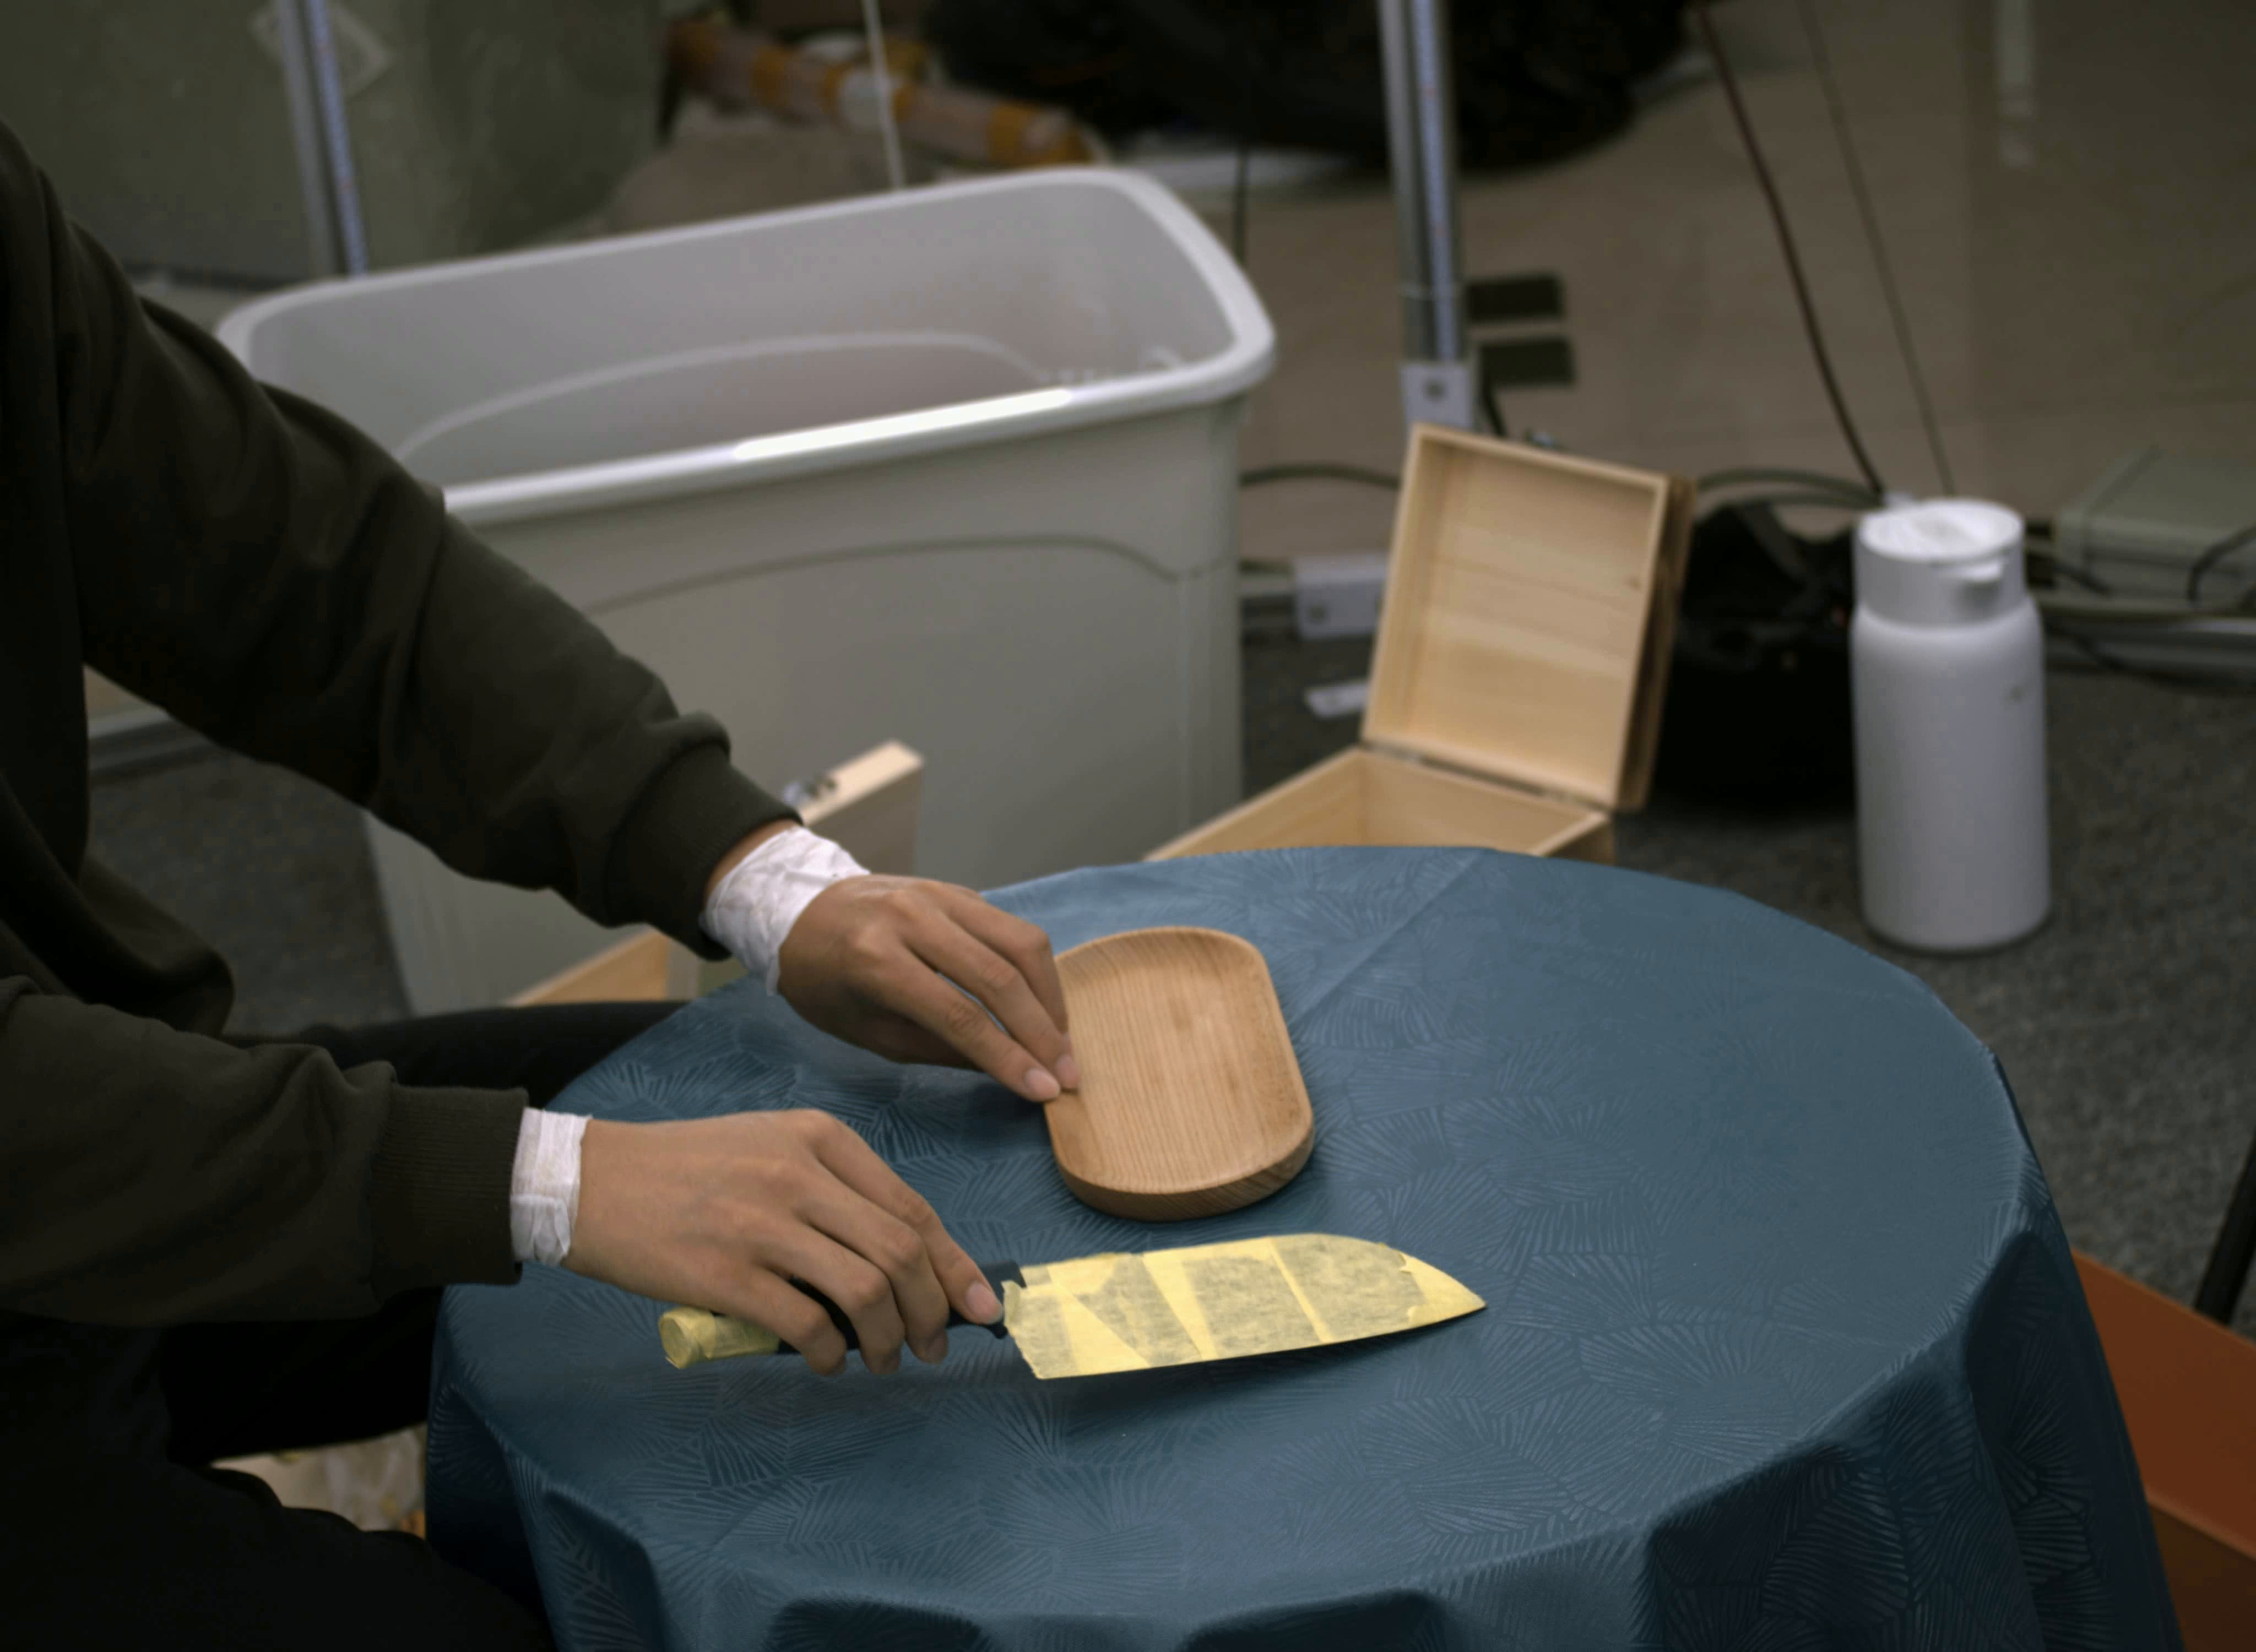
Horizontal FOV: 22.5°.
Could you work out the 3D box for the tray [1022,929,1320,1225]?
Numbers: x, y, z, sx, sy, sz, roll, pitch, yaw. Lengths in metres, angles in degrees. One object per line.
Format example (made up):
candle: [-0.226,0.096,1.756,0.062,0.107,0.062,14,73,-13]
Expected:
tray: [0.016,0.096,2.220,0.101,0.020,0.228,-11,26,-2]

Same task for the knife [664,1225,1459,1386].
knife: [-0.021,0.175,2.024,0.289,0.028,0.080,-6,30,-12]
